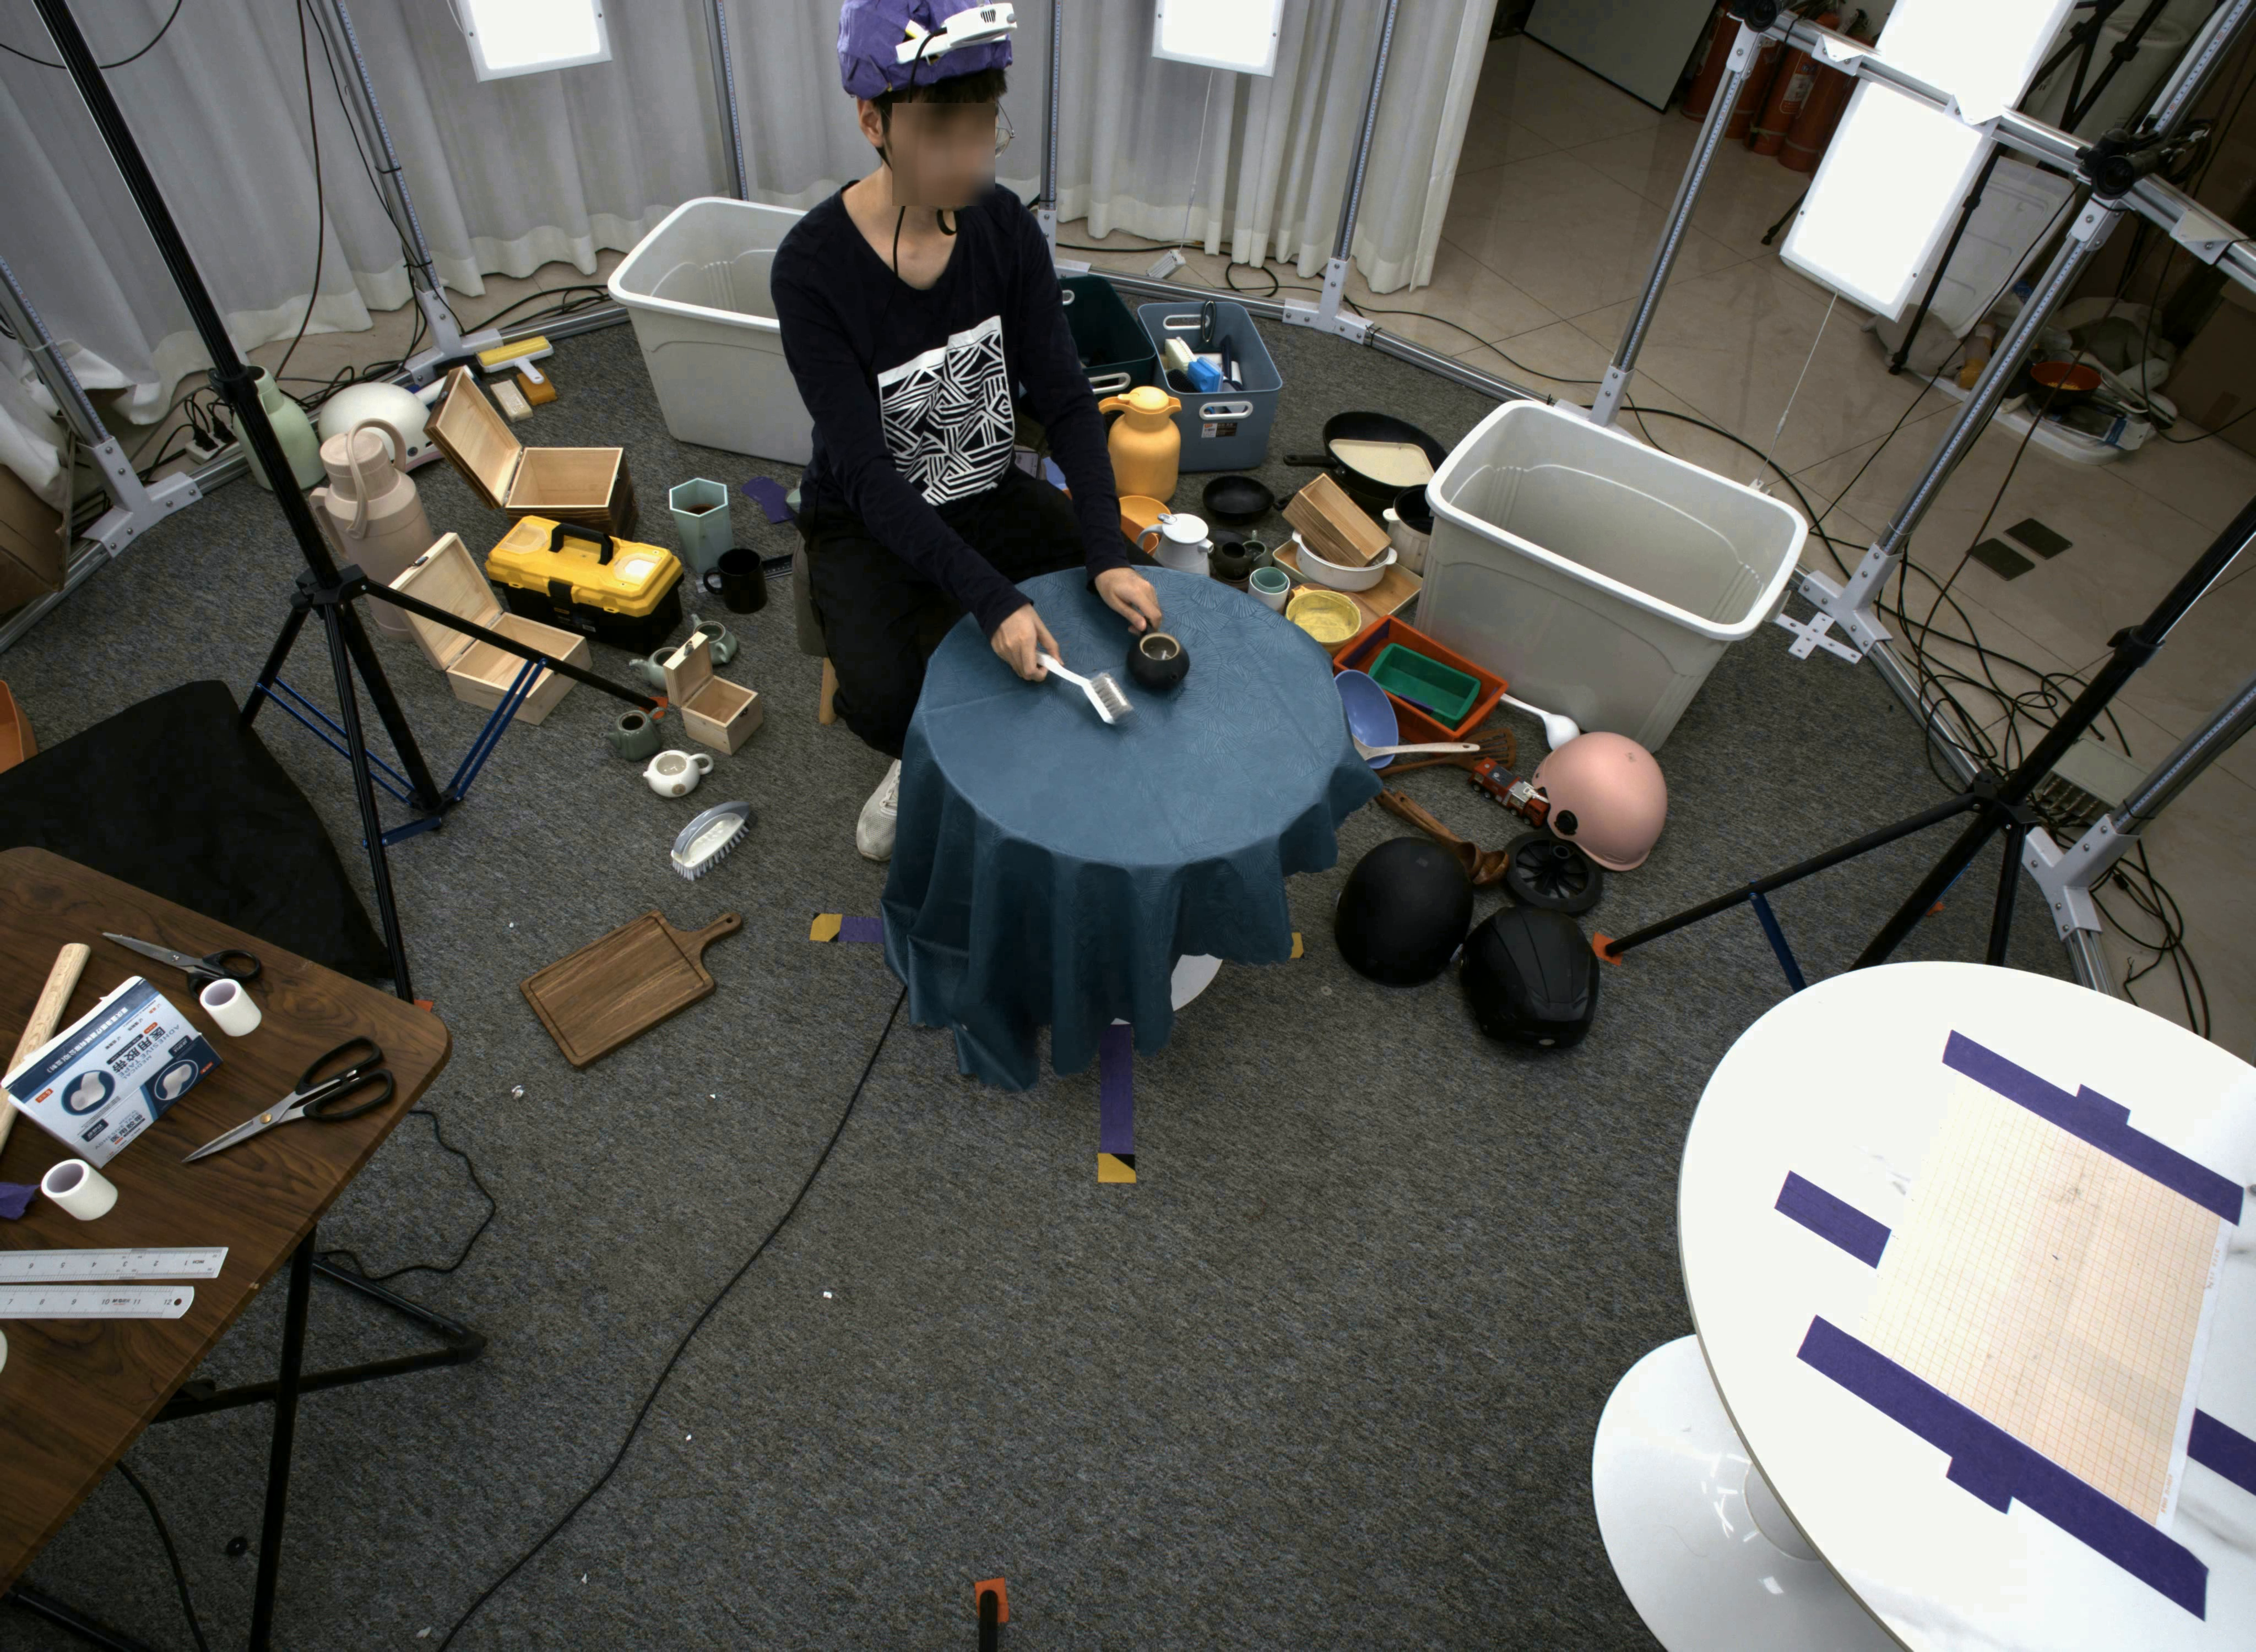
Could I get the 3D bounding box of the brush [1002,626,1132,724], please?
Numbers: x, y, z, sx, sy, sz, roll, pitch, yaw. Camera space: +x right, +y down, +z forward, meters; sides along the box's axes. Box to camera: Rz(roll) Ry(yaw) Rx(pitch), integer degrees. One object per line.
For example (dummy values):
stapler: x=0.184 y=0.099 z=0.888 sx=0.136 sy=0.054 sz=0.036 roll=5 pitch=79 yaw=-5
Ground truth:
brush: x=-0.087 y=-0.229 z=1.815 sx=0.247 sy=0.049 sz=0.034 roll=42 pitch=29 yaw=24

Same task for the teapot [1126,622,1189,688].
teapot: x=0.043 y=-0.239 z=1.844 sx=0.091 sy=0.052 sz=0.136 roll=-11 pitch=50 yaw=-17
